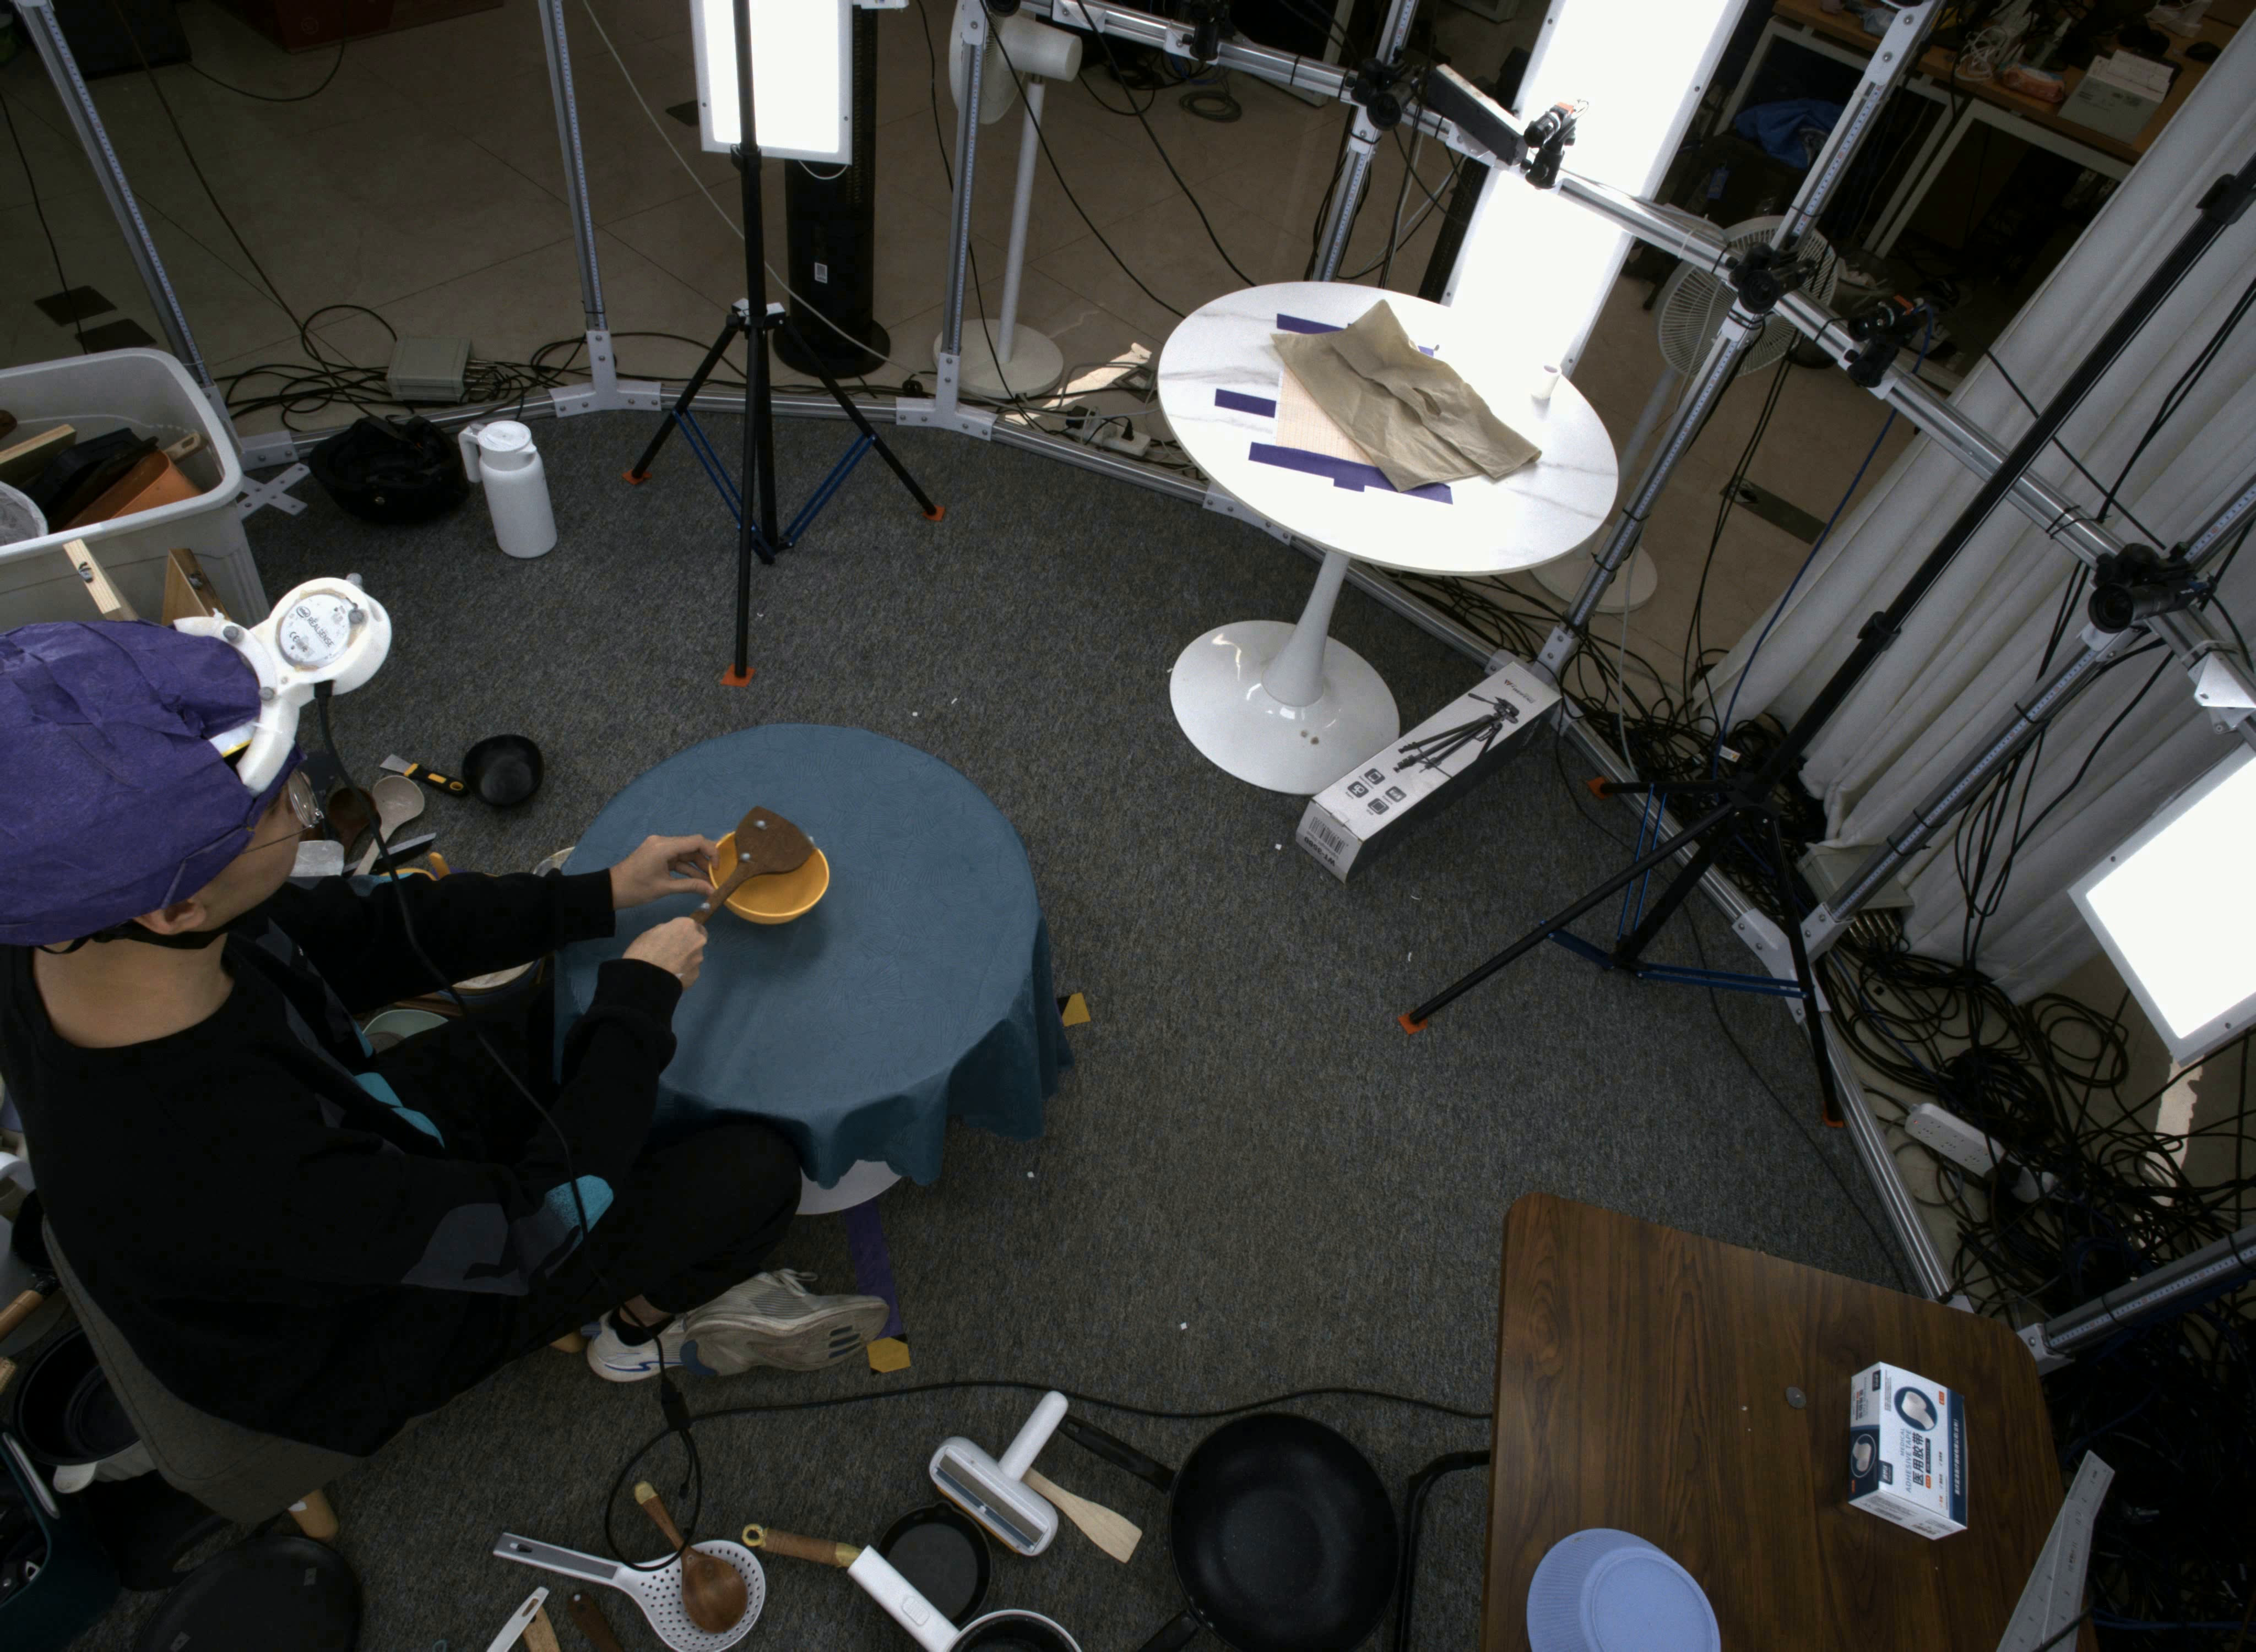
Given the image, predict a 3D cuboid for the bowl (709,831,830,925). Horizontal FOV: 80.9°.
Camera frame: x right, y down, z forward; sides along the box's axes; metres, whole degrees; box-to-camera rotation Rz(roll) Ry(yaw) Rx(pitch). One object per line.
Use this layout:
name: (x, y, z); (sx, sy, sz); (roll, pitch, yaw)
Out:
bowl: (-0.444, 0.073, 1.601); (0.145, 0.061, 0.142); (12, 44, -10)

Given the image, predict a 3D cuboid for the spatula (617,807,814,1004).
spatula: (-0.474, 0.085, 1.470); (0.096, 0.016, 0.382); (36, 30, -6)
